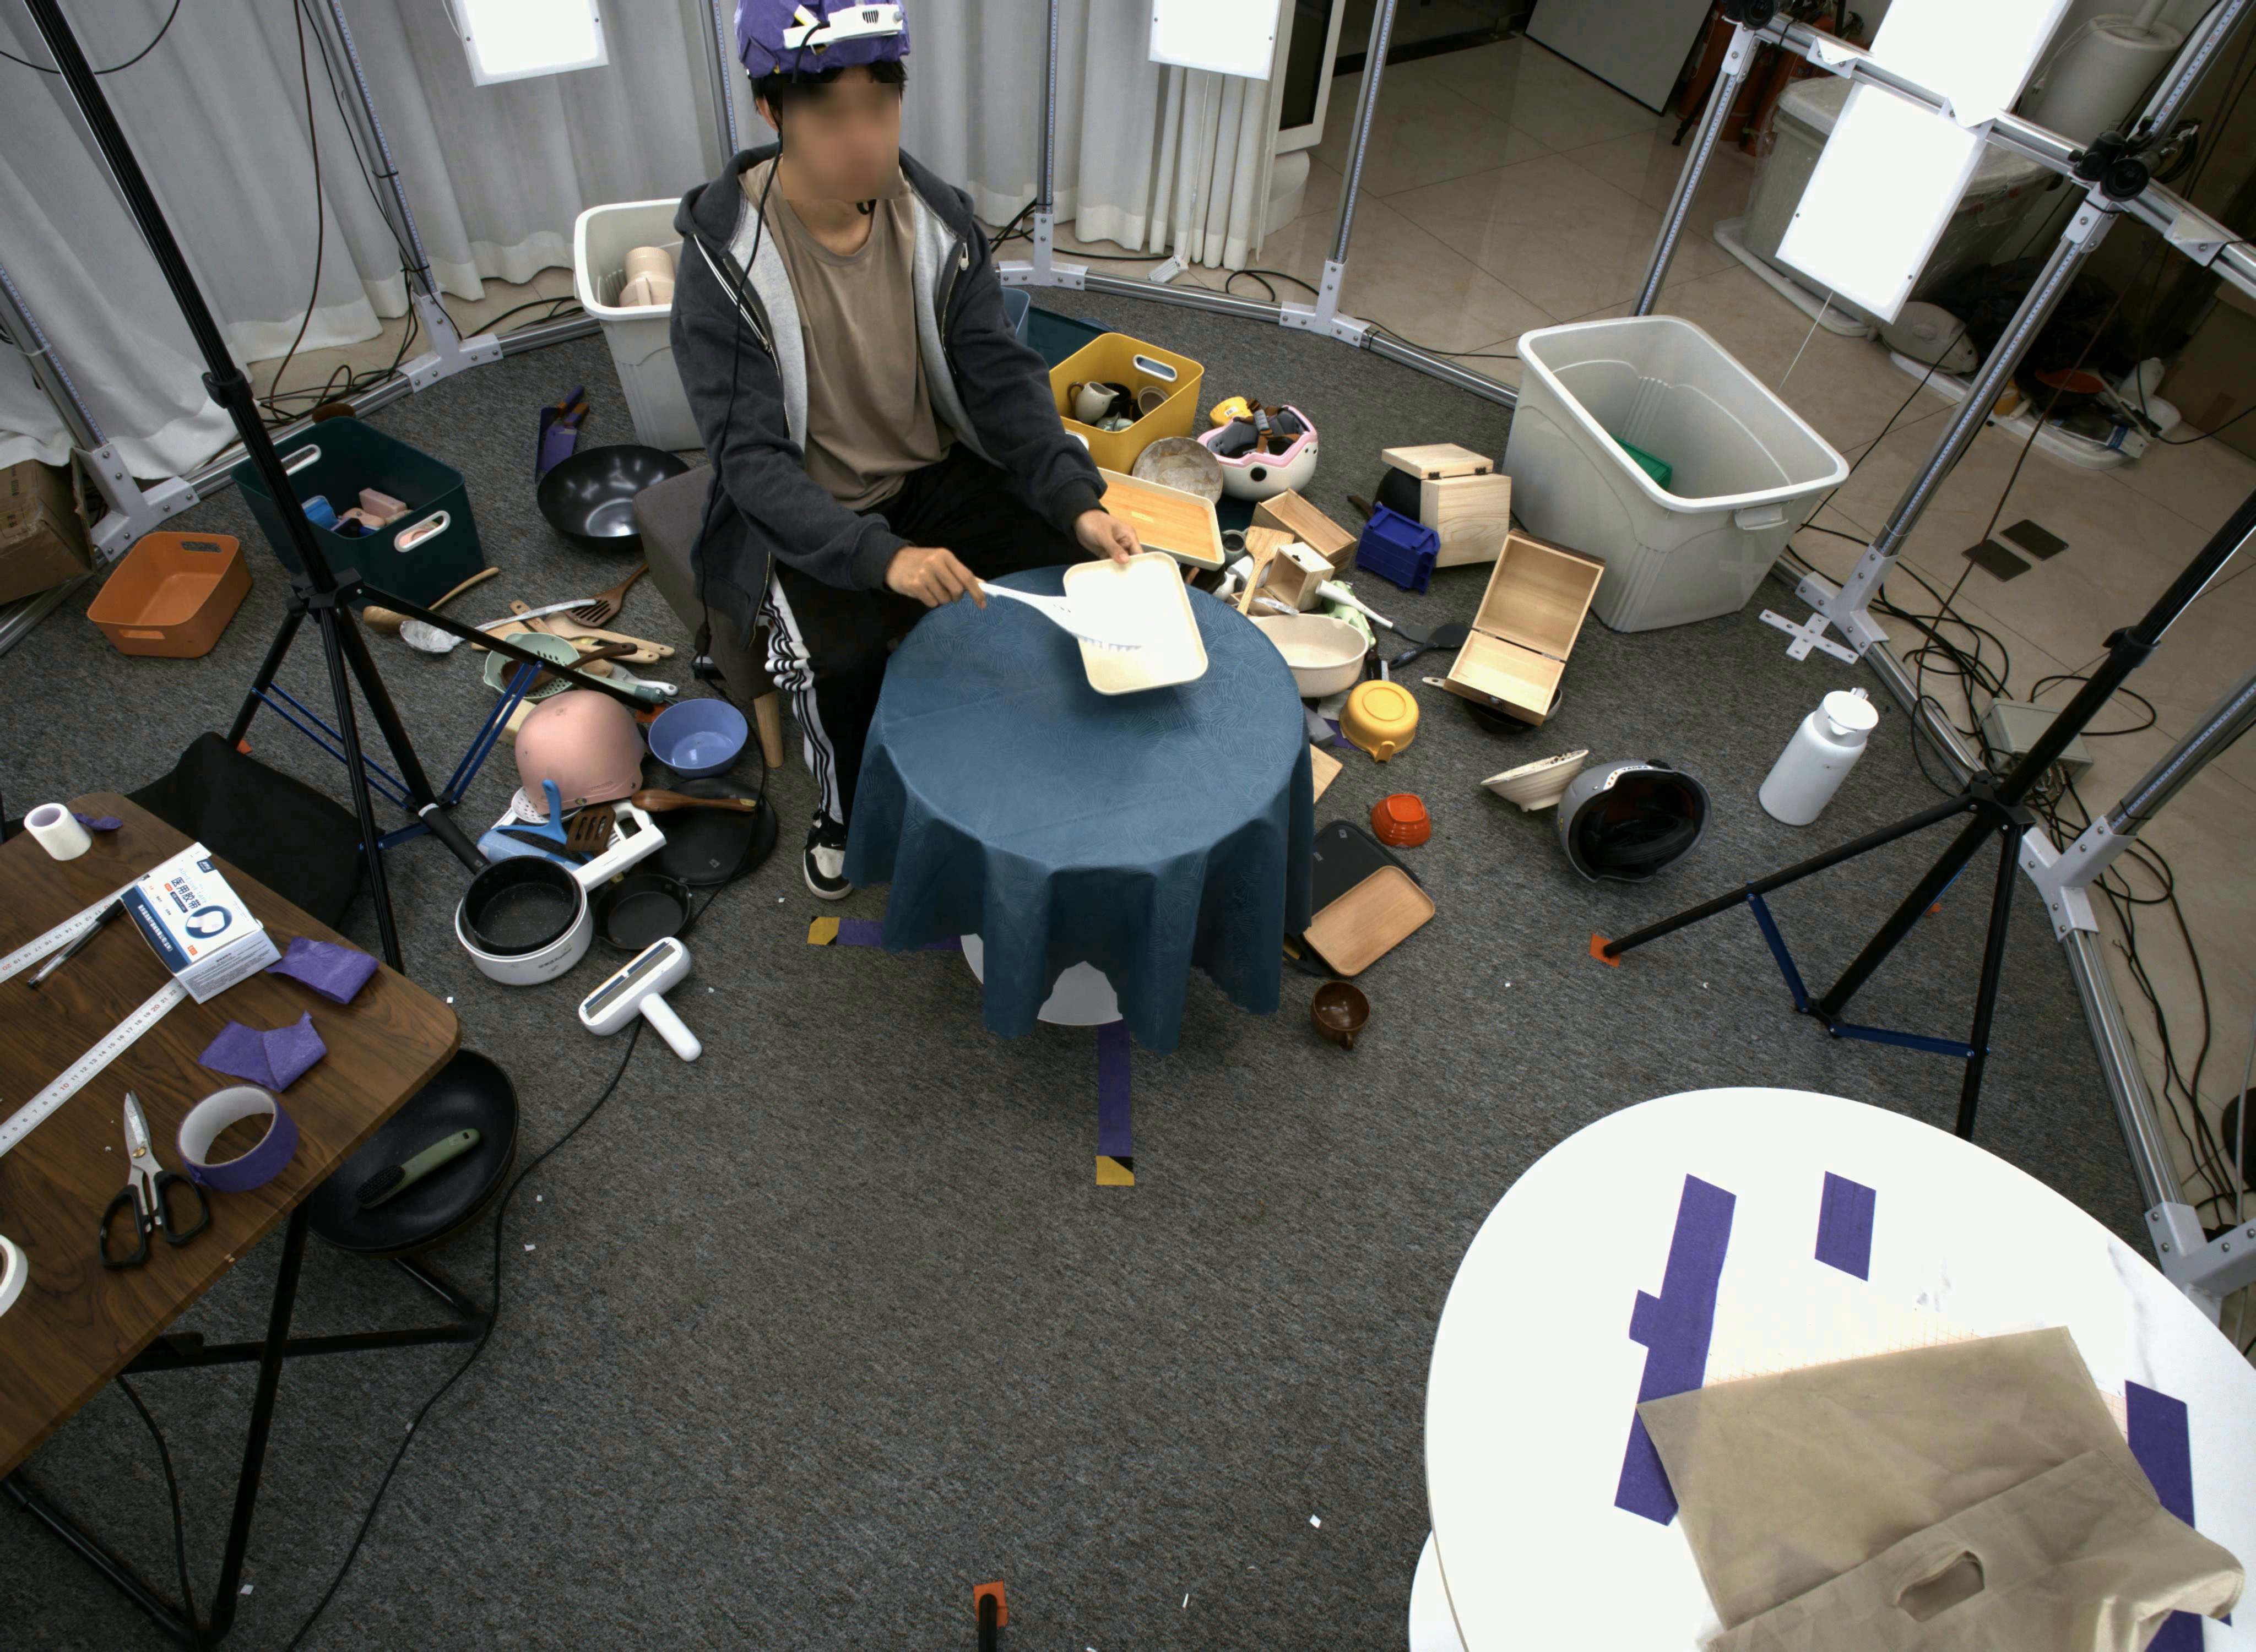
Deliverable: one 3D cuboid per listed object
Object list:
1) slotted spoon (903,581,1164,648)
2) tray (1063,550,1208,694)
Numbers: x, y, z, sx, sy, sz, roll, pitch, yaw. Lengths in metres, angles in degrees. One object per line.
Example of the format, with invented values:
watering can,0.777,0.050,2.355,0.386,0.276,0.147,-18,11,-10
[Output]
slotted spoon,-0.125,-0.294,1.717,0.348,0.049,0.139,16,30,1
tray,0.008,-0.291,1.828,0.171,0.017,0.245,-10,58,-6
